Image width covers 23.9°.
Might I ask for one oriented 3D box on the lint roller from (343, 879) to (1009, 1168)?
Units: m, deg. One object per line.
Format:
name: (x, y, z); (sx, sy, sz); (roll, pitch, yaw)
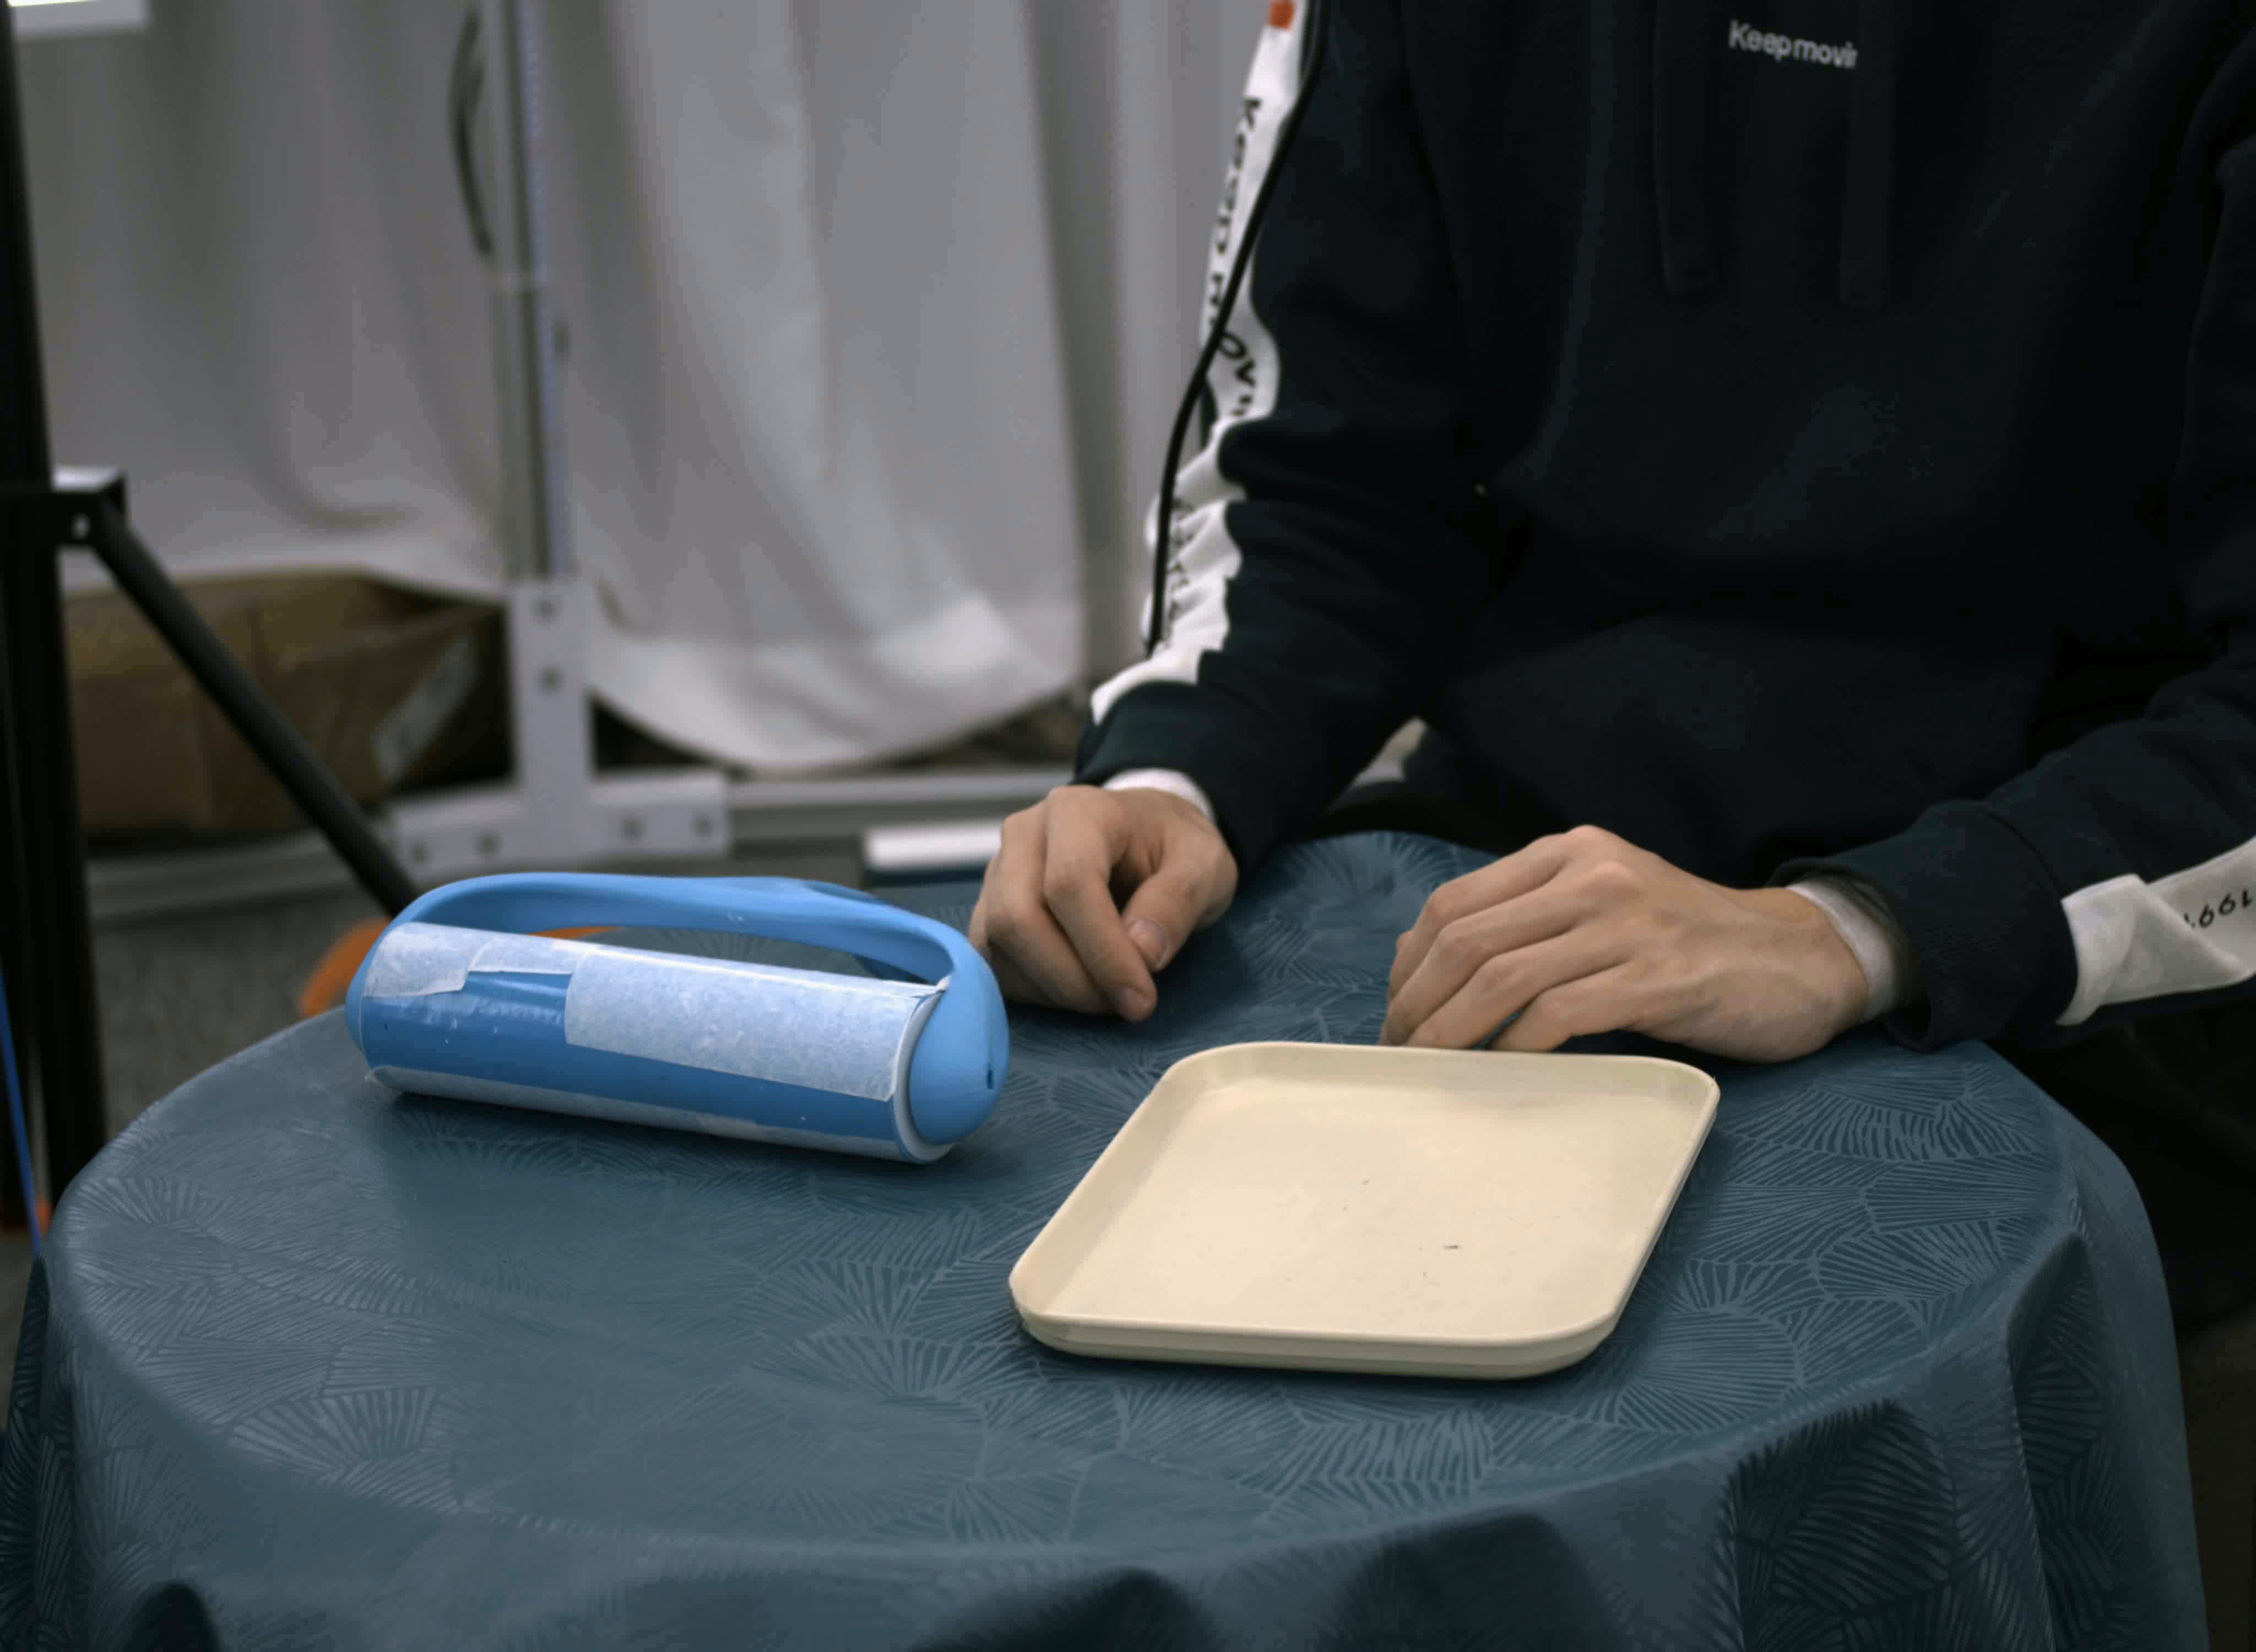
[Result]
lint roller: (-0.117, 0.049, 1.681); (0.232, 0.068, 0.177); (4, 18, 26)

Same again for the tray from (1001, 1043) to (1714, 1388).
tray: (0.070, 0.109, 1.508); (0.173, 0.017, 0.237); (2, 16, 16)
